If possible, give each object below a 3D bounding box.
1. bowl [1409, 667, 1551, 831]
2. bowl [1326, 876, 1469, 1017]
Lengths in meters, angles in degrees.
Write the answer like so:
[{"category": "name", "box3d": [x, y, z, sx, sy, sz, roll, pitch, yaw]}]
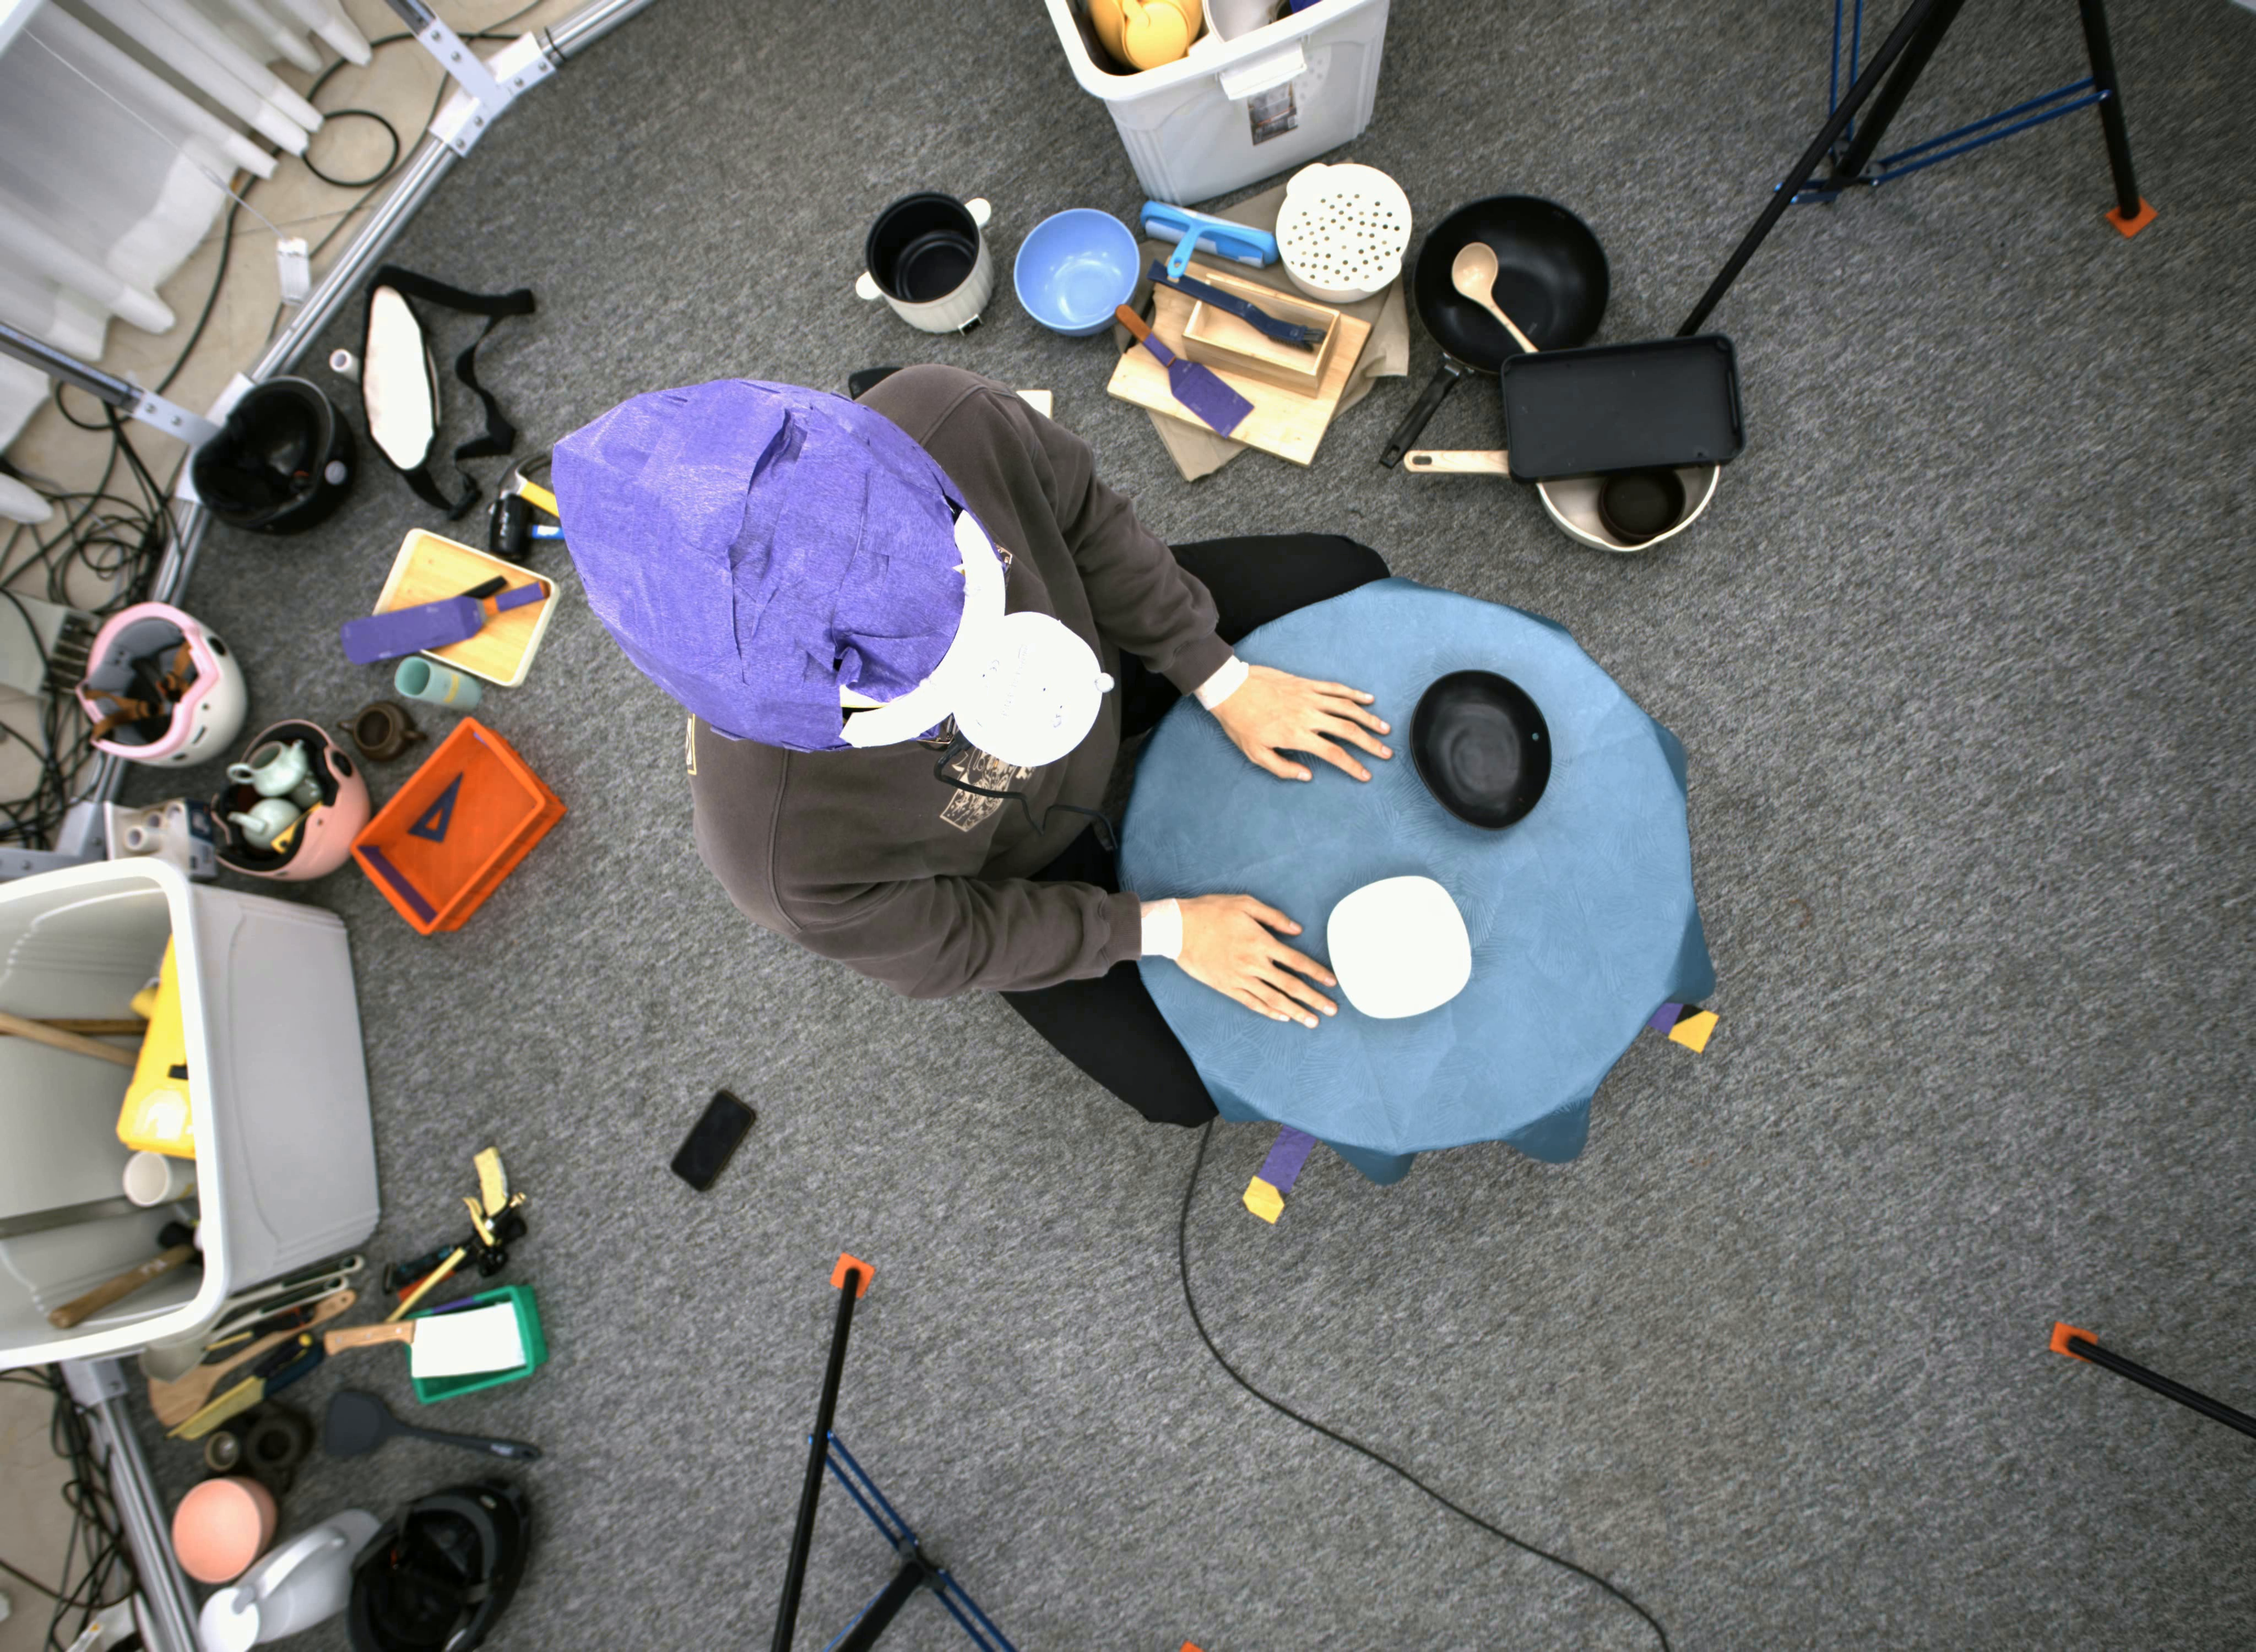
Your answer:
[{"category": "bowl", "box3d": [0.362, -0.080, 1.416, 0.138, 0.066, 0.169, -21, 85, 9]}, {"category": "bowl", "box3d": [0.276, 0.123, 1.424, 0.152, 0.058, 0.151, -1, 87, 8]}]
